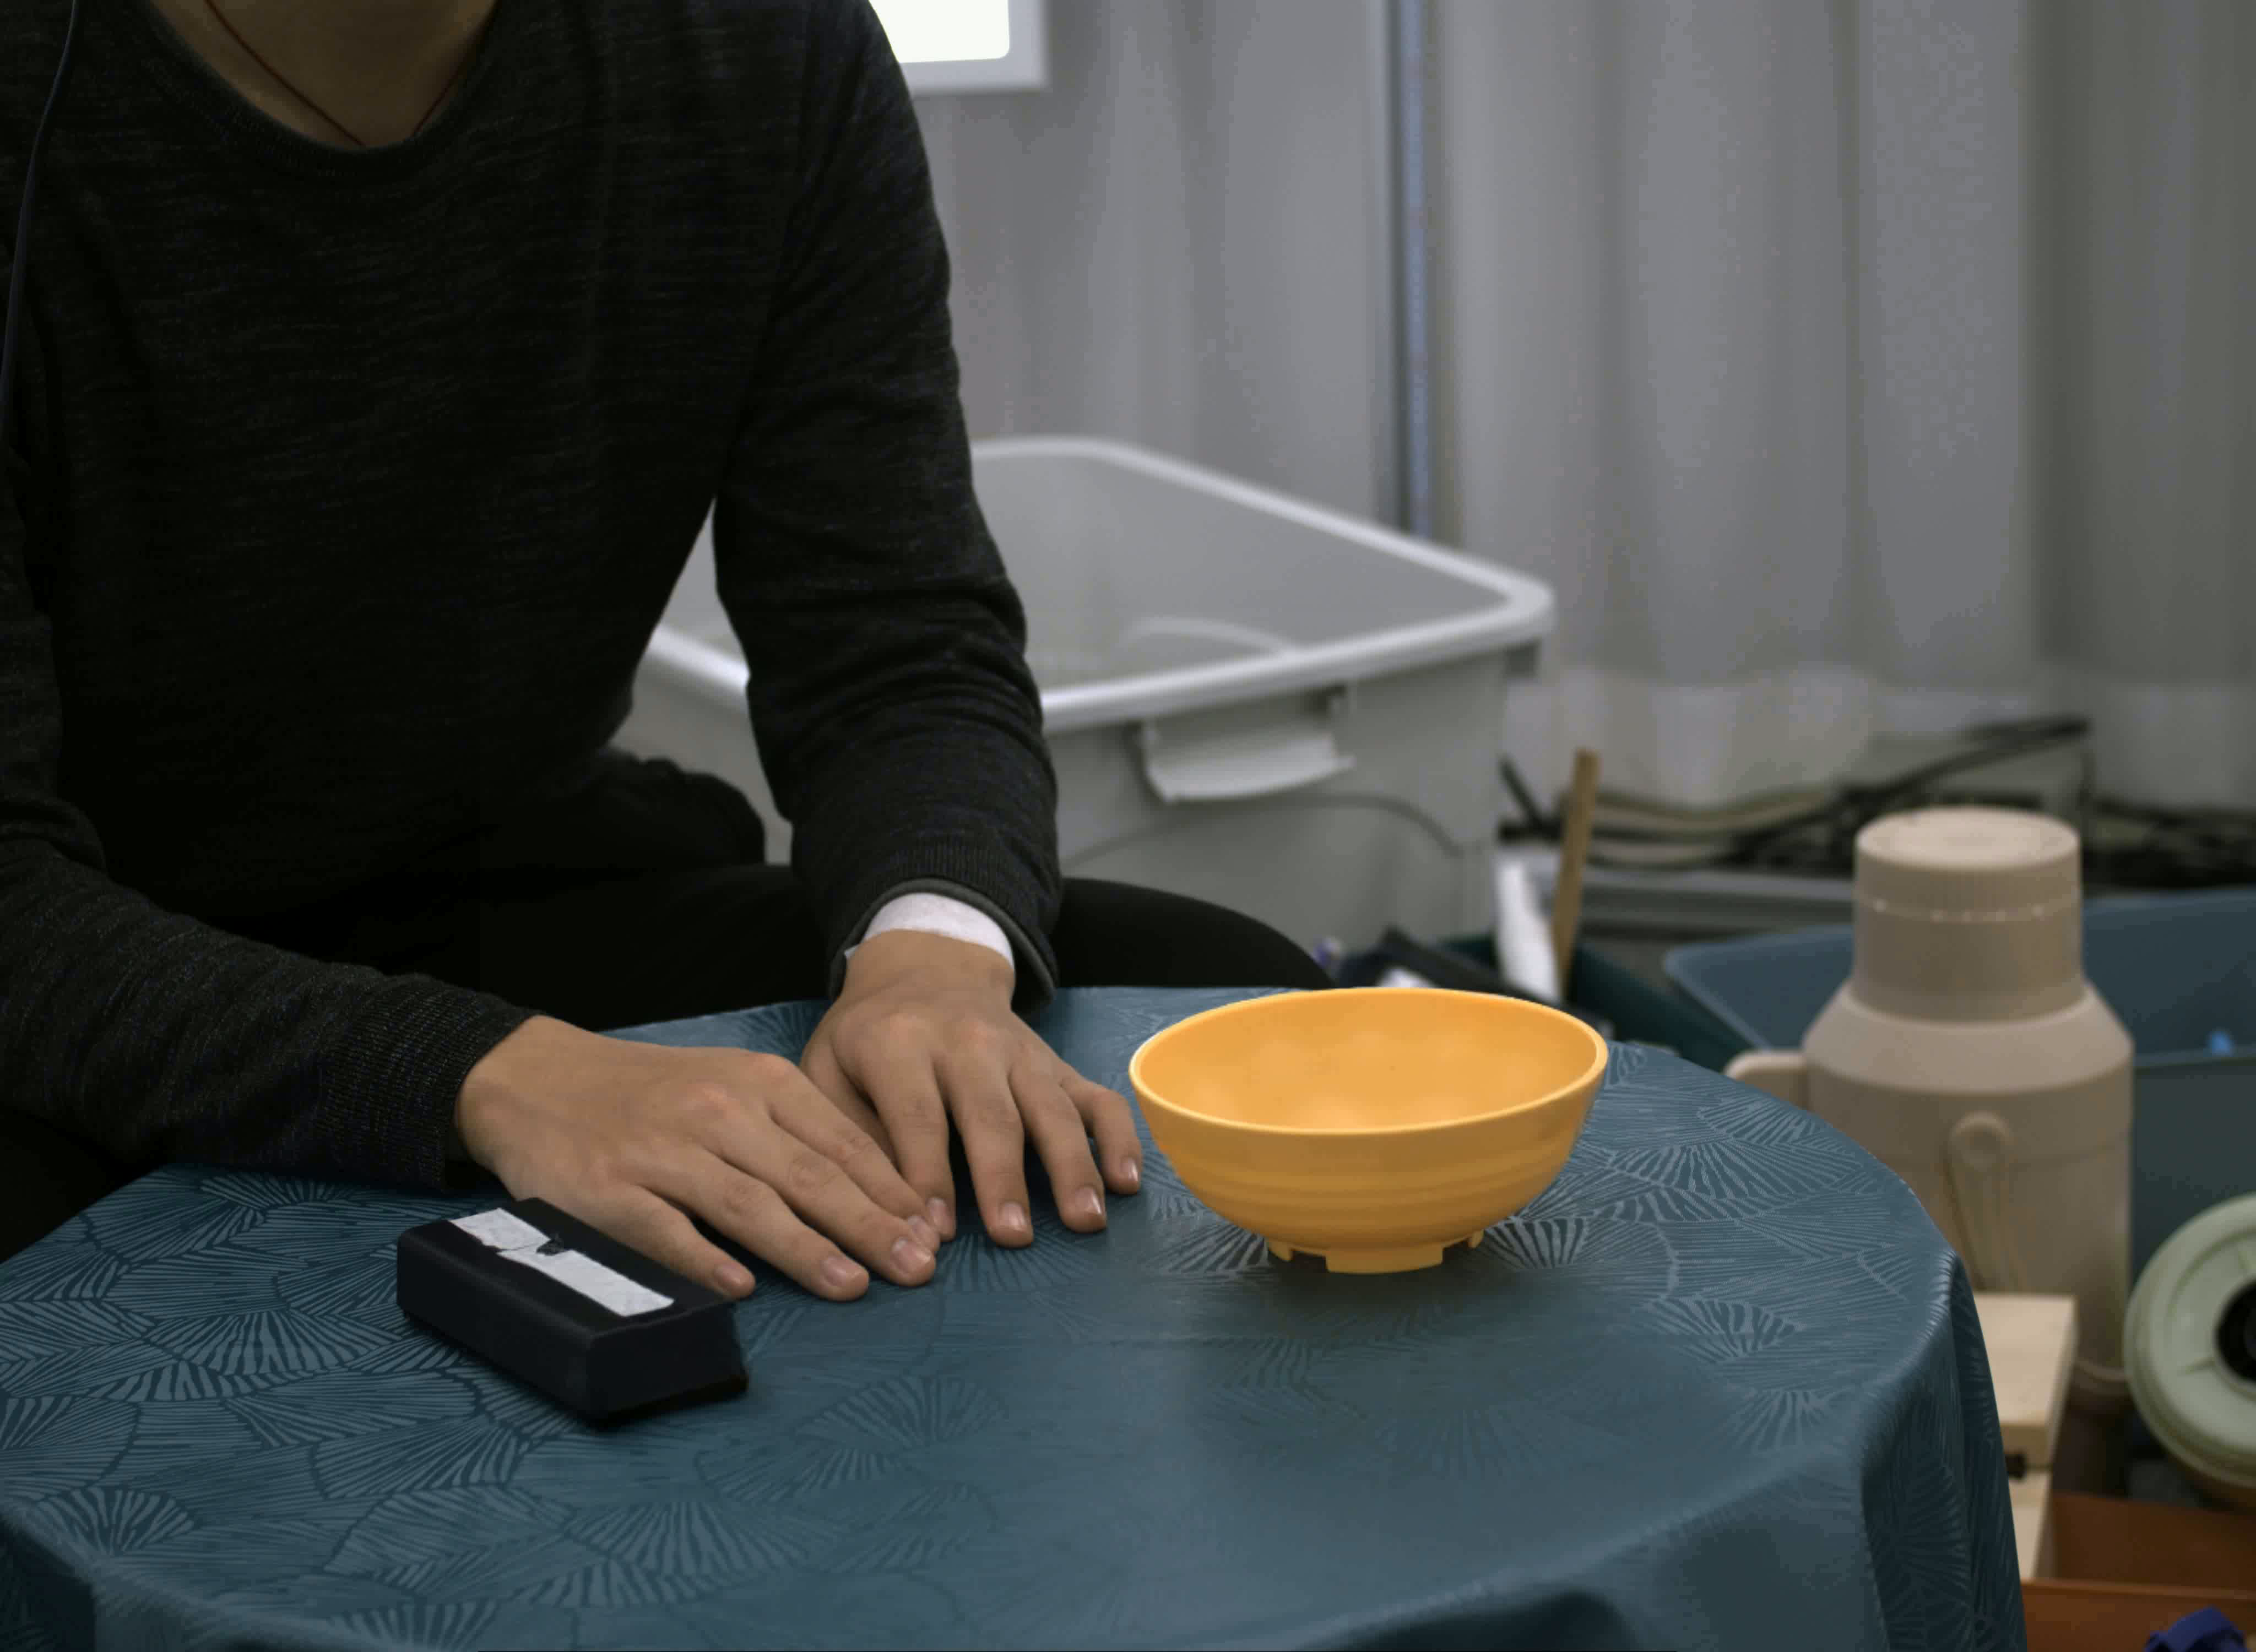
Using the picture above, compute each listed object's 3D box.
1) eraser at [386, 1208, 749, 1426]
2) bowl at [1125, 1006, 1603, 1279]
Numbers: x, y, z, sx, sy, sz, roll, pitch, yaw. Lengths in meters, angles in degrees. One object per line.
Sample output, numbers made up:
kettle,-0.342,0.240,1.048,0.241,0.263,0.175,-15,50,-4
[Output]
eraser,-0.163,0.142,1.588,0.053,0.030,0.126,-9,15,-34
bowl,0.072,0.099,1.650,0.145,0.060,0.146,-2,12,0
